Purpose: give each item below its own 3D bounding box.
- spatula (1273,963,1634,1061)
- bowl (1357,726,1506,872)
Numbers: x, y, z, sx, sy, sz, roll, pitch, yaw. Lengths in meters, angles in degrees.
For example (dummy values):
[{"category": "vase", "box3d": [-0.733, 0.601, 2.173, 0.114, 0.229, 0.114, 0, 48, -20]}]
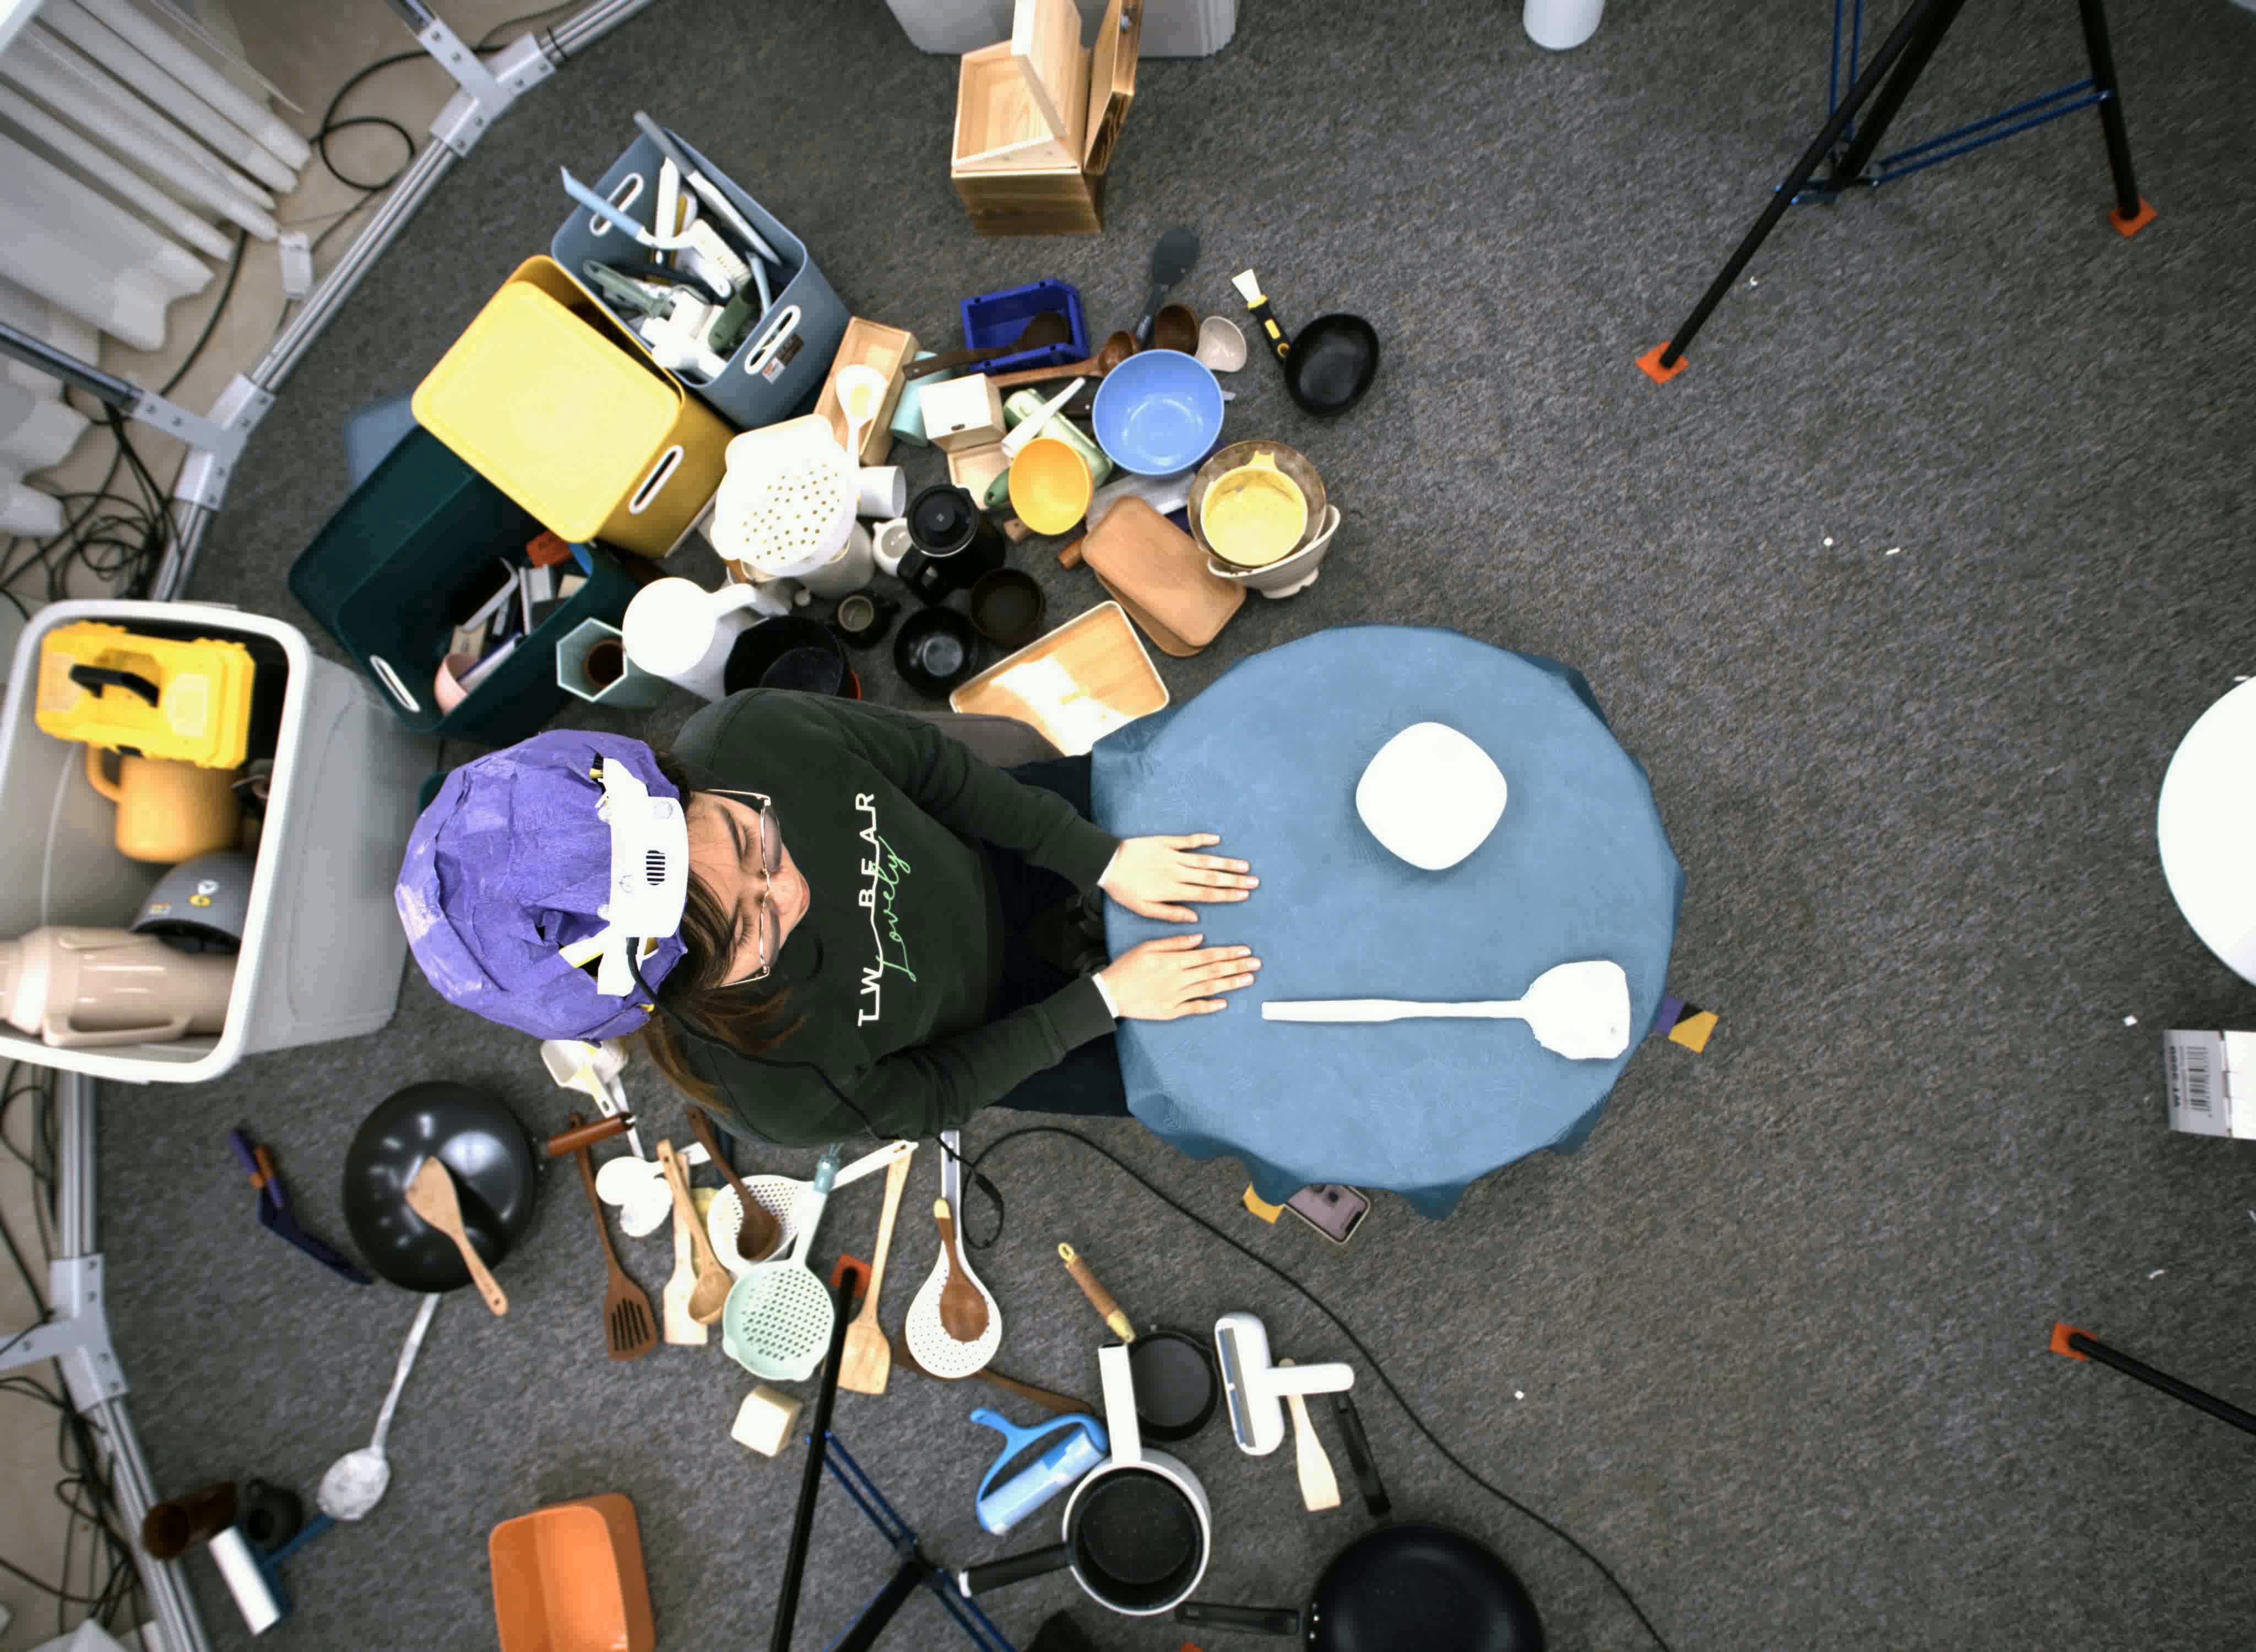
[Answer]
[{"category": "spatula", "box3d": [0.331, 0.187, 1.426, 0.366, 0.045, 0.098, 0, 87, 10]}, {"category": "bowl", "box3d": [0.315, -0.026, 1.435, 0.152, 0.059, 0.150, -1, 85, 8]}]
